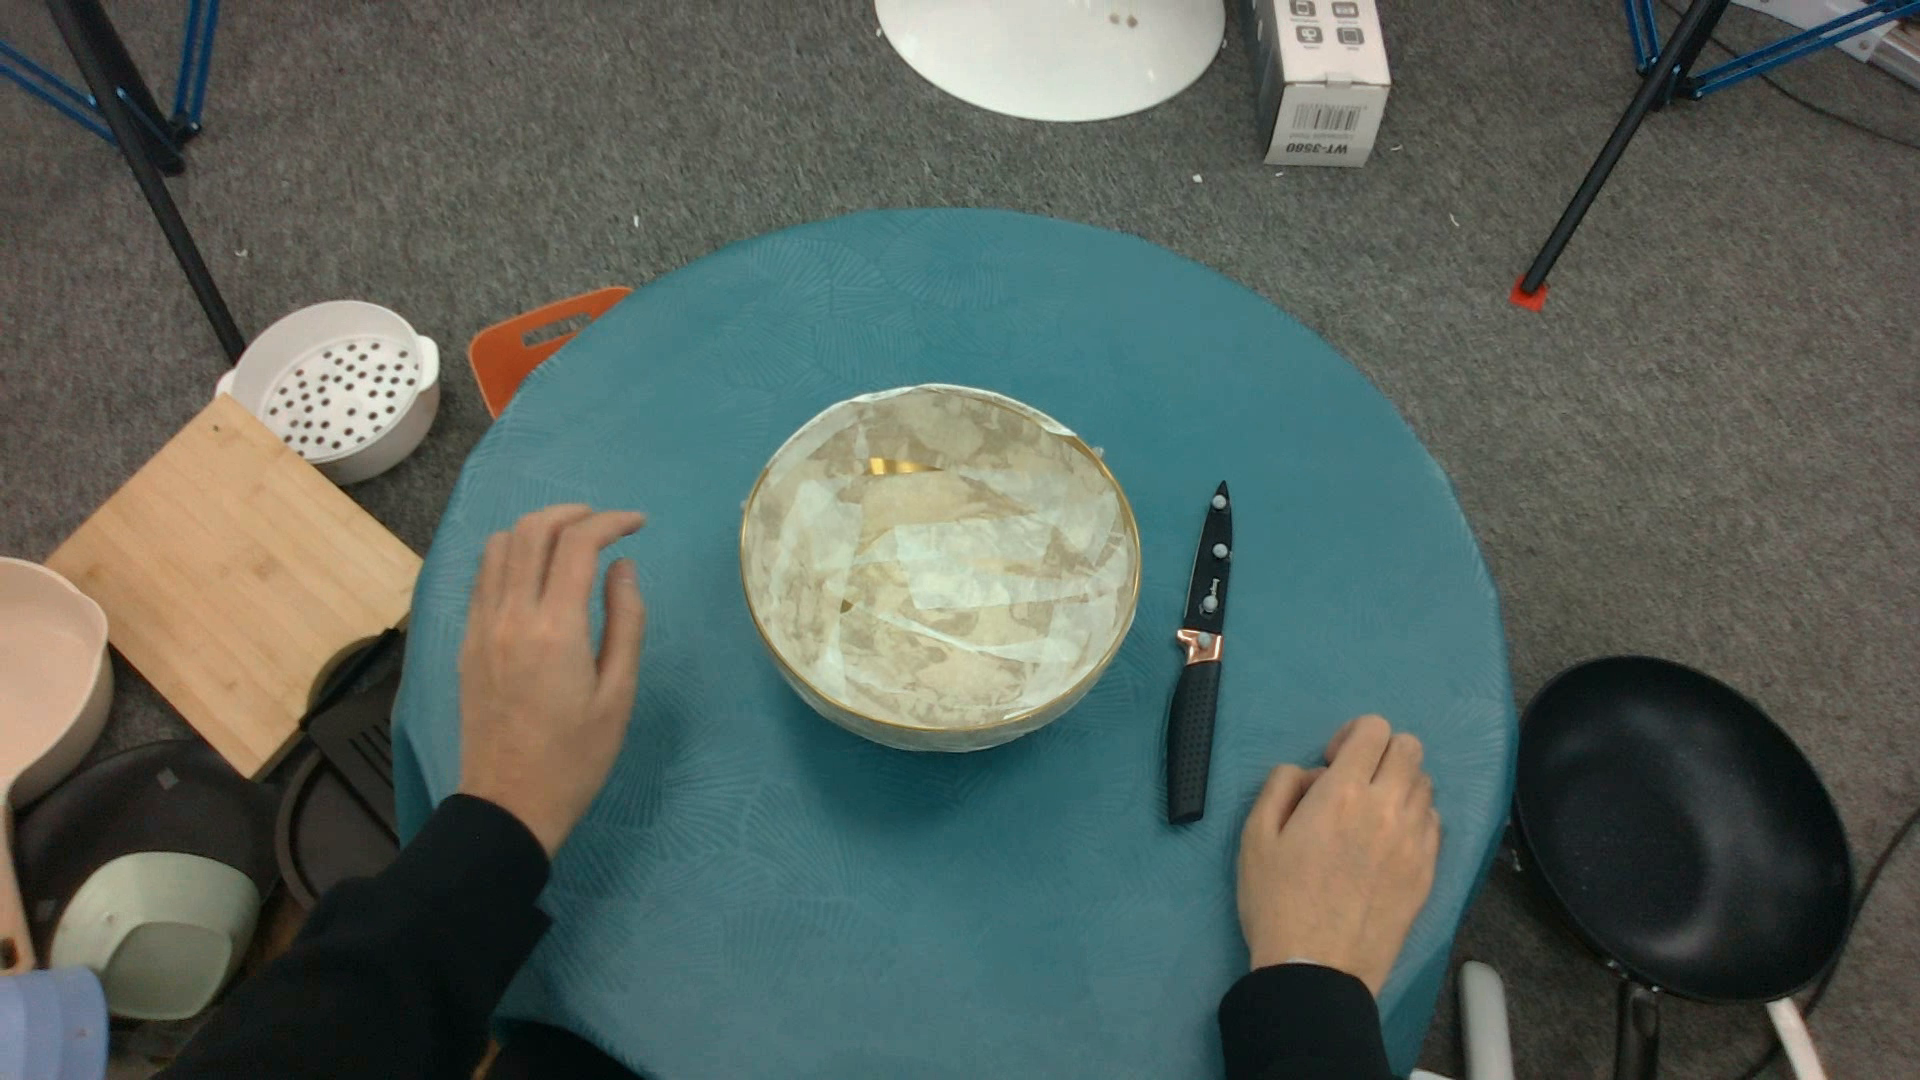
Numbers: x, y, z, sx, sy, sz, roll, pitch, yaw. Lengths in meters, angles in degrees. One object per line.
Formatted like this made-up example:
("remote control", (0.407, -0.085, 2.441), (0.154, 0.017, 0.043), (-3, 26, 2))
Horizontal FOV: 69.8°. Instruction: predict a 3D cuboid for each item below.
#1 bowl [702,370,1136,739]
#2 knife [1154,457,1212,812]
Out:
("bowl", (-0.020, 0.021, 0.709), (0.215, 0.094, 0.215), (3, 57, -4))
("knife", (0.125, 0.044, 0.755), (0.026, 0.017, 0.226), (7, 56, 8))
